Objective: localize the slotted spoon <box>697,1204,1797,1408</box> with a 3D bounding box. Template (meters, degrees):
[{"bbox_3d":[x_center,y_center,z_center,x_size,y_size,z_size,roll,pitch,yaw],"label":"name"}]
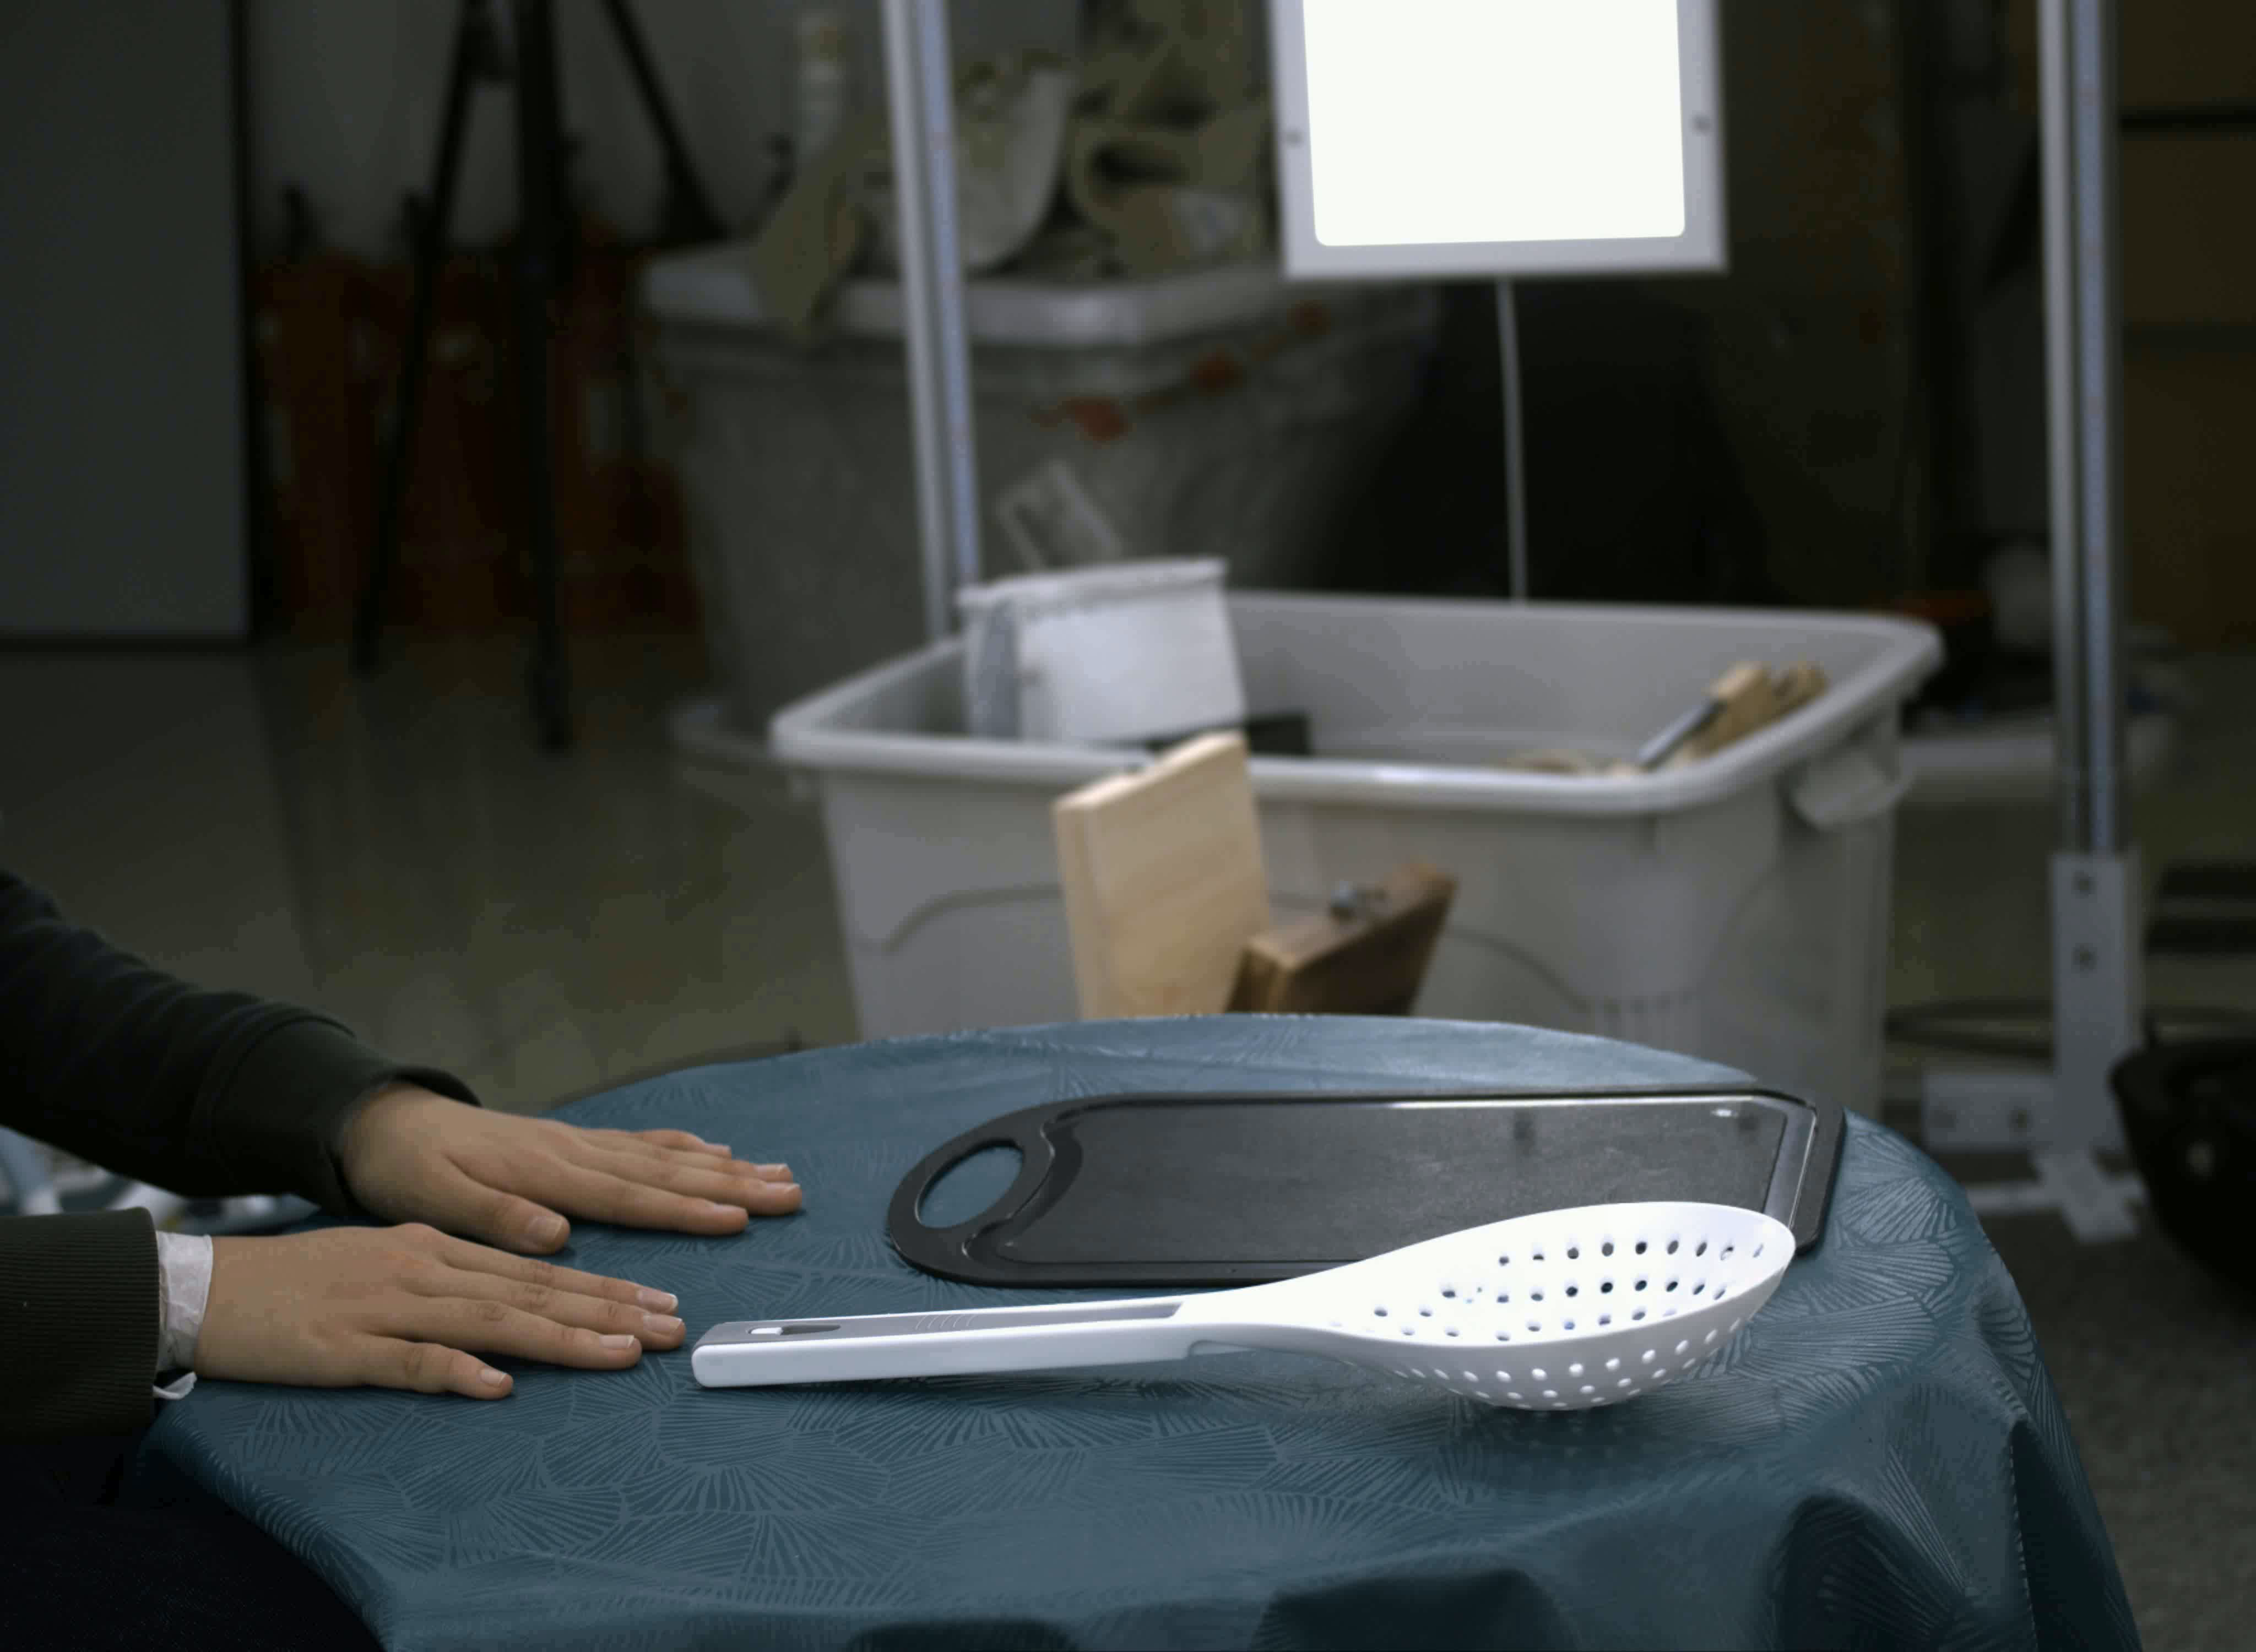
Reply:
[{"bbox_3d":[0.033,0.151,1.689,0.354,0.046,0.134,-1,12,18],"label":"slotted spoon"}]

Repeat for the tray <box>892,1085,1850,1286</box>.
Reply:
[{"bbox_3d":[0.081,0.120,1.880,0.328,0.010,0.208,-2,14,14],"label":"tray"}]
